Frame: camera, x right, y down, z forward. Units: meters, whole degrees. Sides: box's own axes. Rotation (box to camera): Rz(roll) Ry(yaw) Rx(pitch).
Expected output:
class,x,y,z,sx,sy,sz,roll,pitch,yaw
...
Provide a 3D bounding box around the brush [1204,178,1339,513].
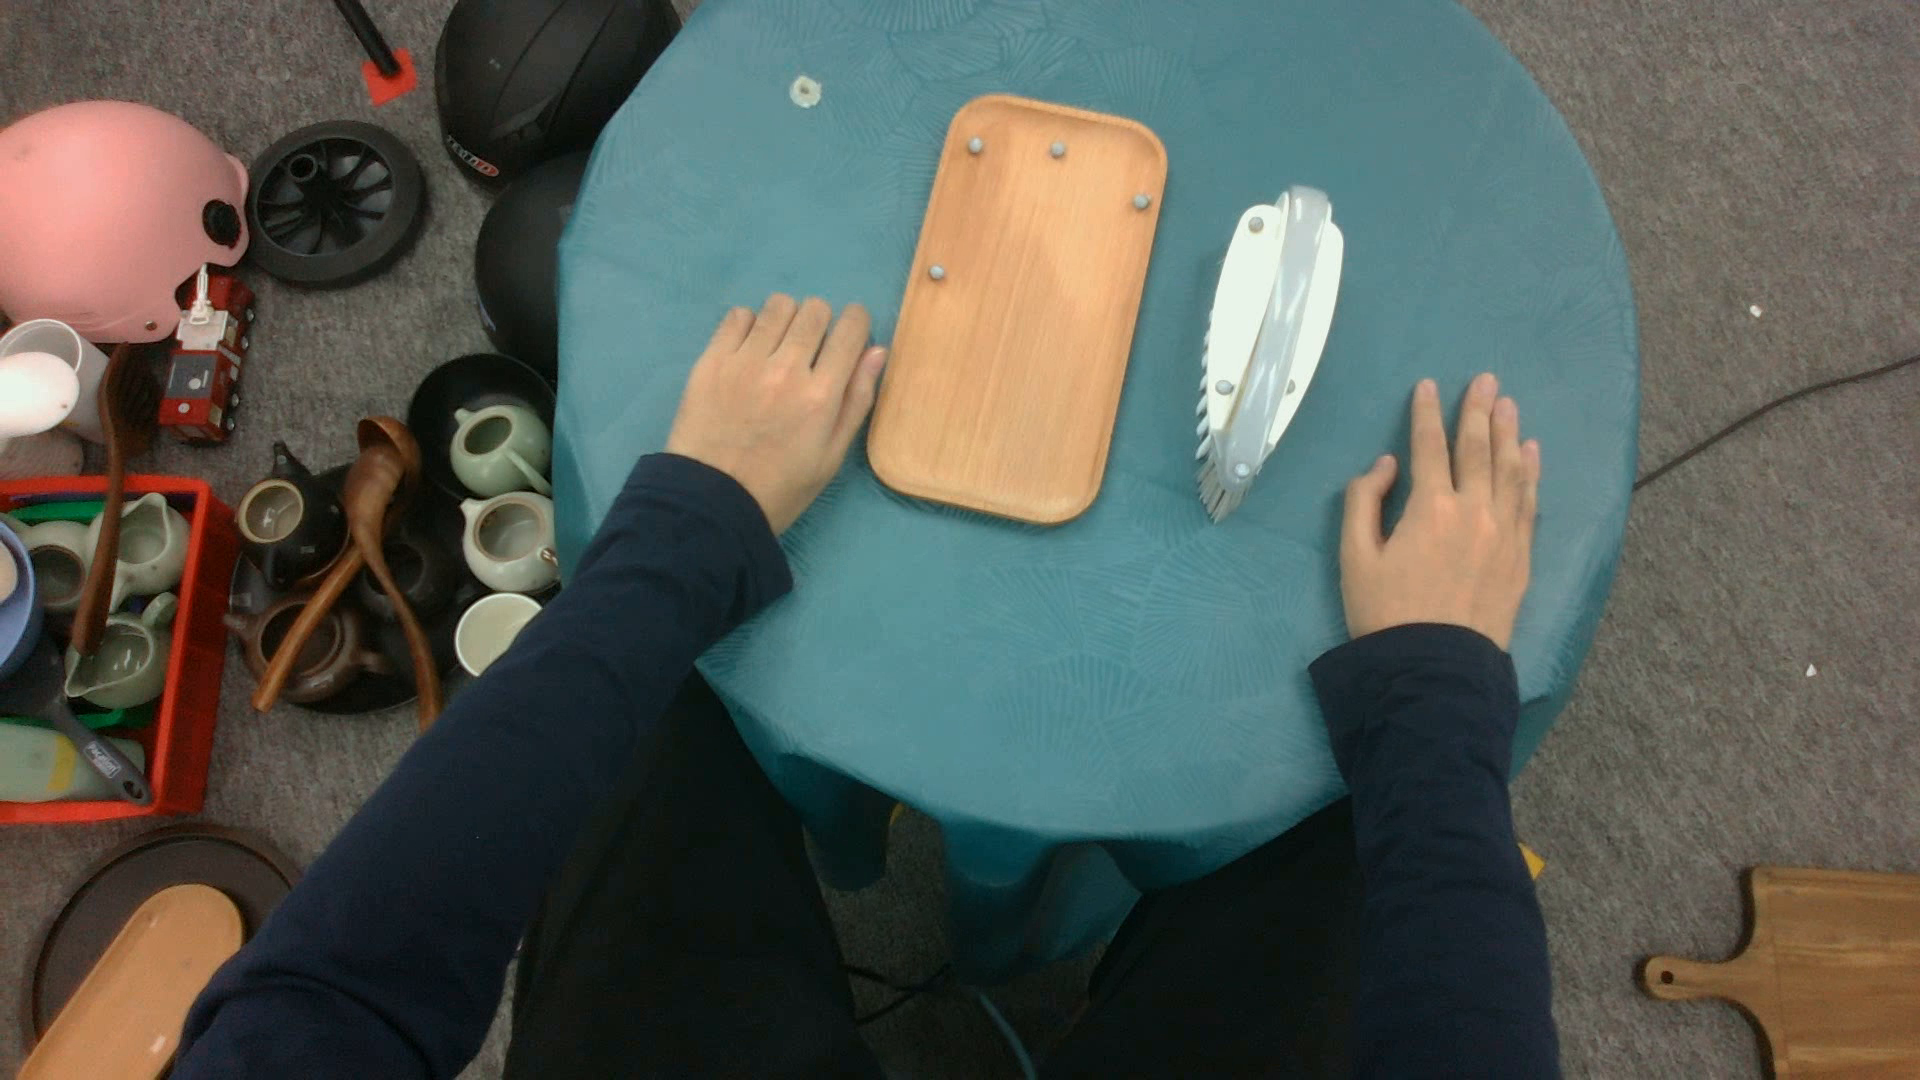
class,x,y,z,sx,sy,sz,roll,pitch,yaw
brush,0.160,-0.107,0.722,0.061,0.094,0.176,13,74,6

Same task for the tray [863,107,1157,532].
class,x,y,z,sx,sy,sz,roll,pitch,yaw
tray,0.031,-0.127,0.769,0.130,0.023,0.251,11,73,6
